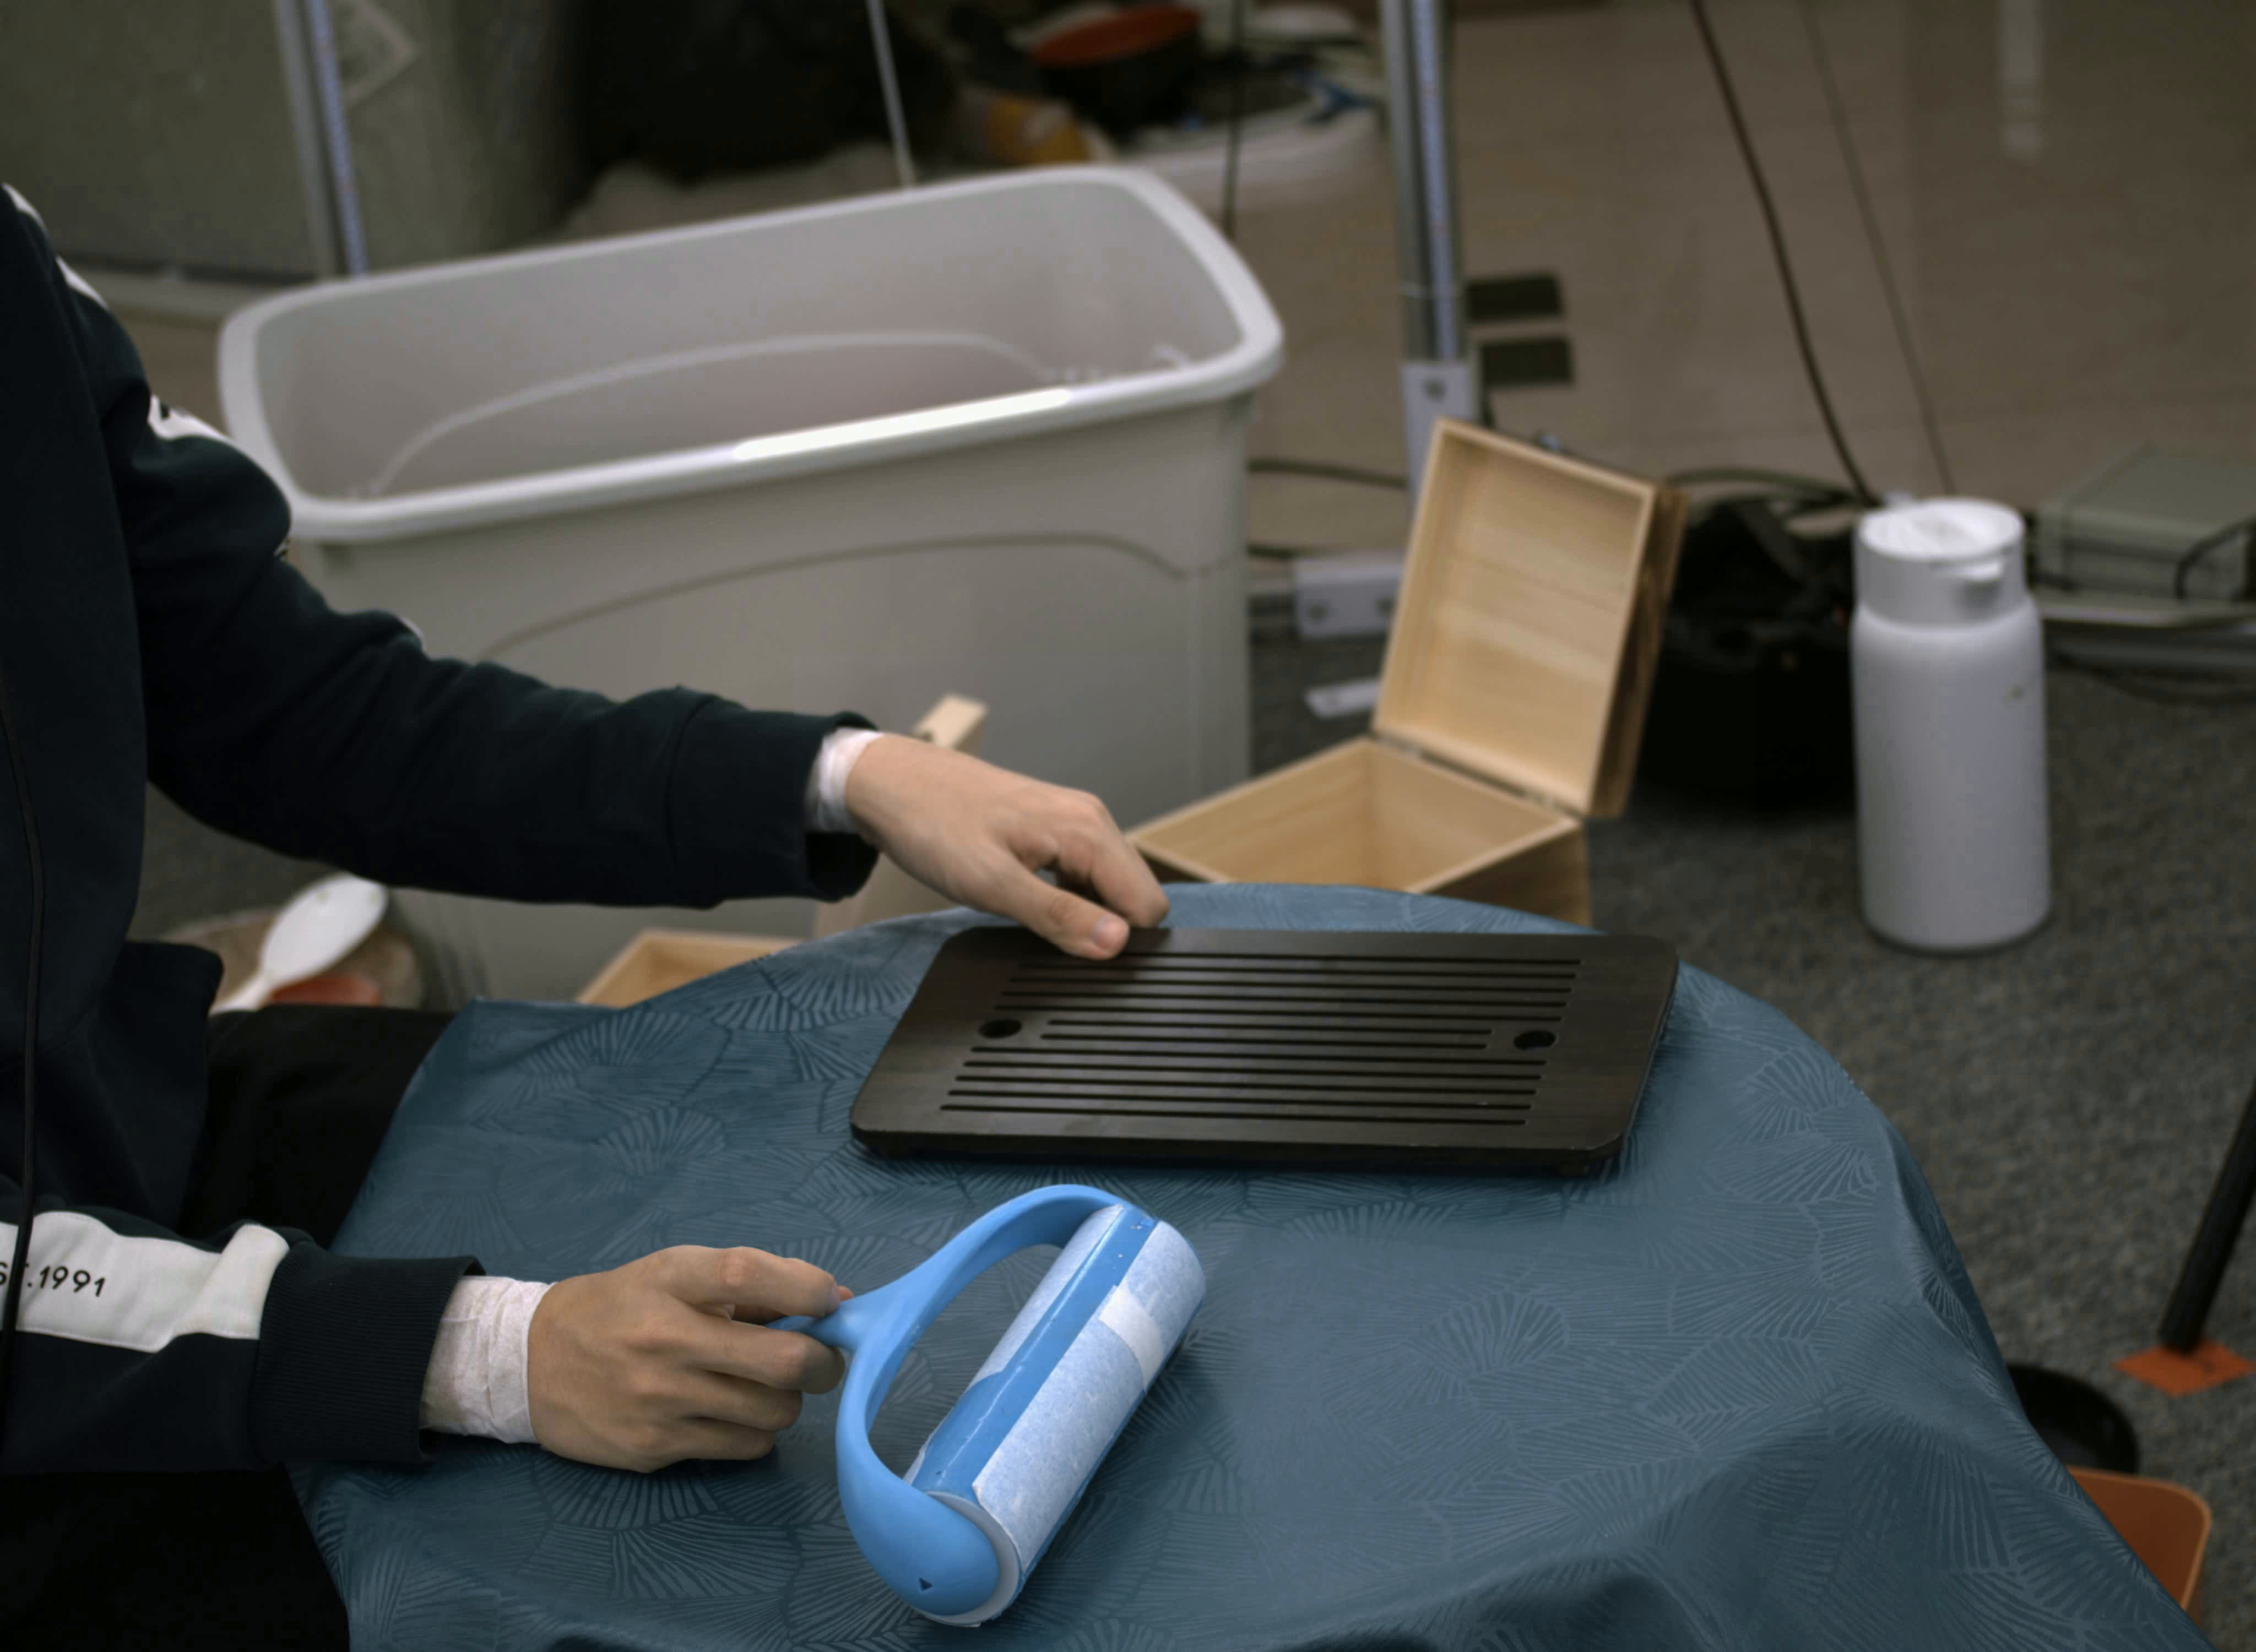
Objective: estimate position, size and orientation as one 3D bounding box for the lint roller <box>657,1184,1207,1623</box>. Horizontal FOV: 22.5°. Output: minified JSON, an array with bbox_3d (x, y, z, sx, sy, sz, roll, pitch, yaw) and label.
[{"bbox_3d":[-0.084,0.196,1.973,0.180,0.069,0.225,3,29,17],"label":"lint roller"}]

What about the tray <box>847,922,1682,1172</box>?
[{"bbox_3d":[0.055,0.086,2.218,0.305,0.019,0.167,0,28,15],"label":"tray"}]
